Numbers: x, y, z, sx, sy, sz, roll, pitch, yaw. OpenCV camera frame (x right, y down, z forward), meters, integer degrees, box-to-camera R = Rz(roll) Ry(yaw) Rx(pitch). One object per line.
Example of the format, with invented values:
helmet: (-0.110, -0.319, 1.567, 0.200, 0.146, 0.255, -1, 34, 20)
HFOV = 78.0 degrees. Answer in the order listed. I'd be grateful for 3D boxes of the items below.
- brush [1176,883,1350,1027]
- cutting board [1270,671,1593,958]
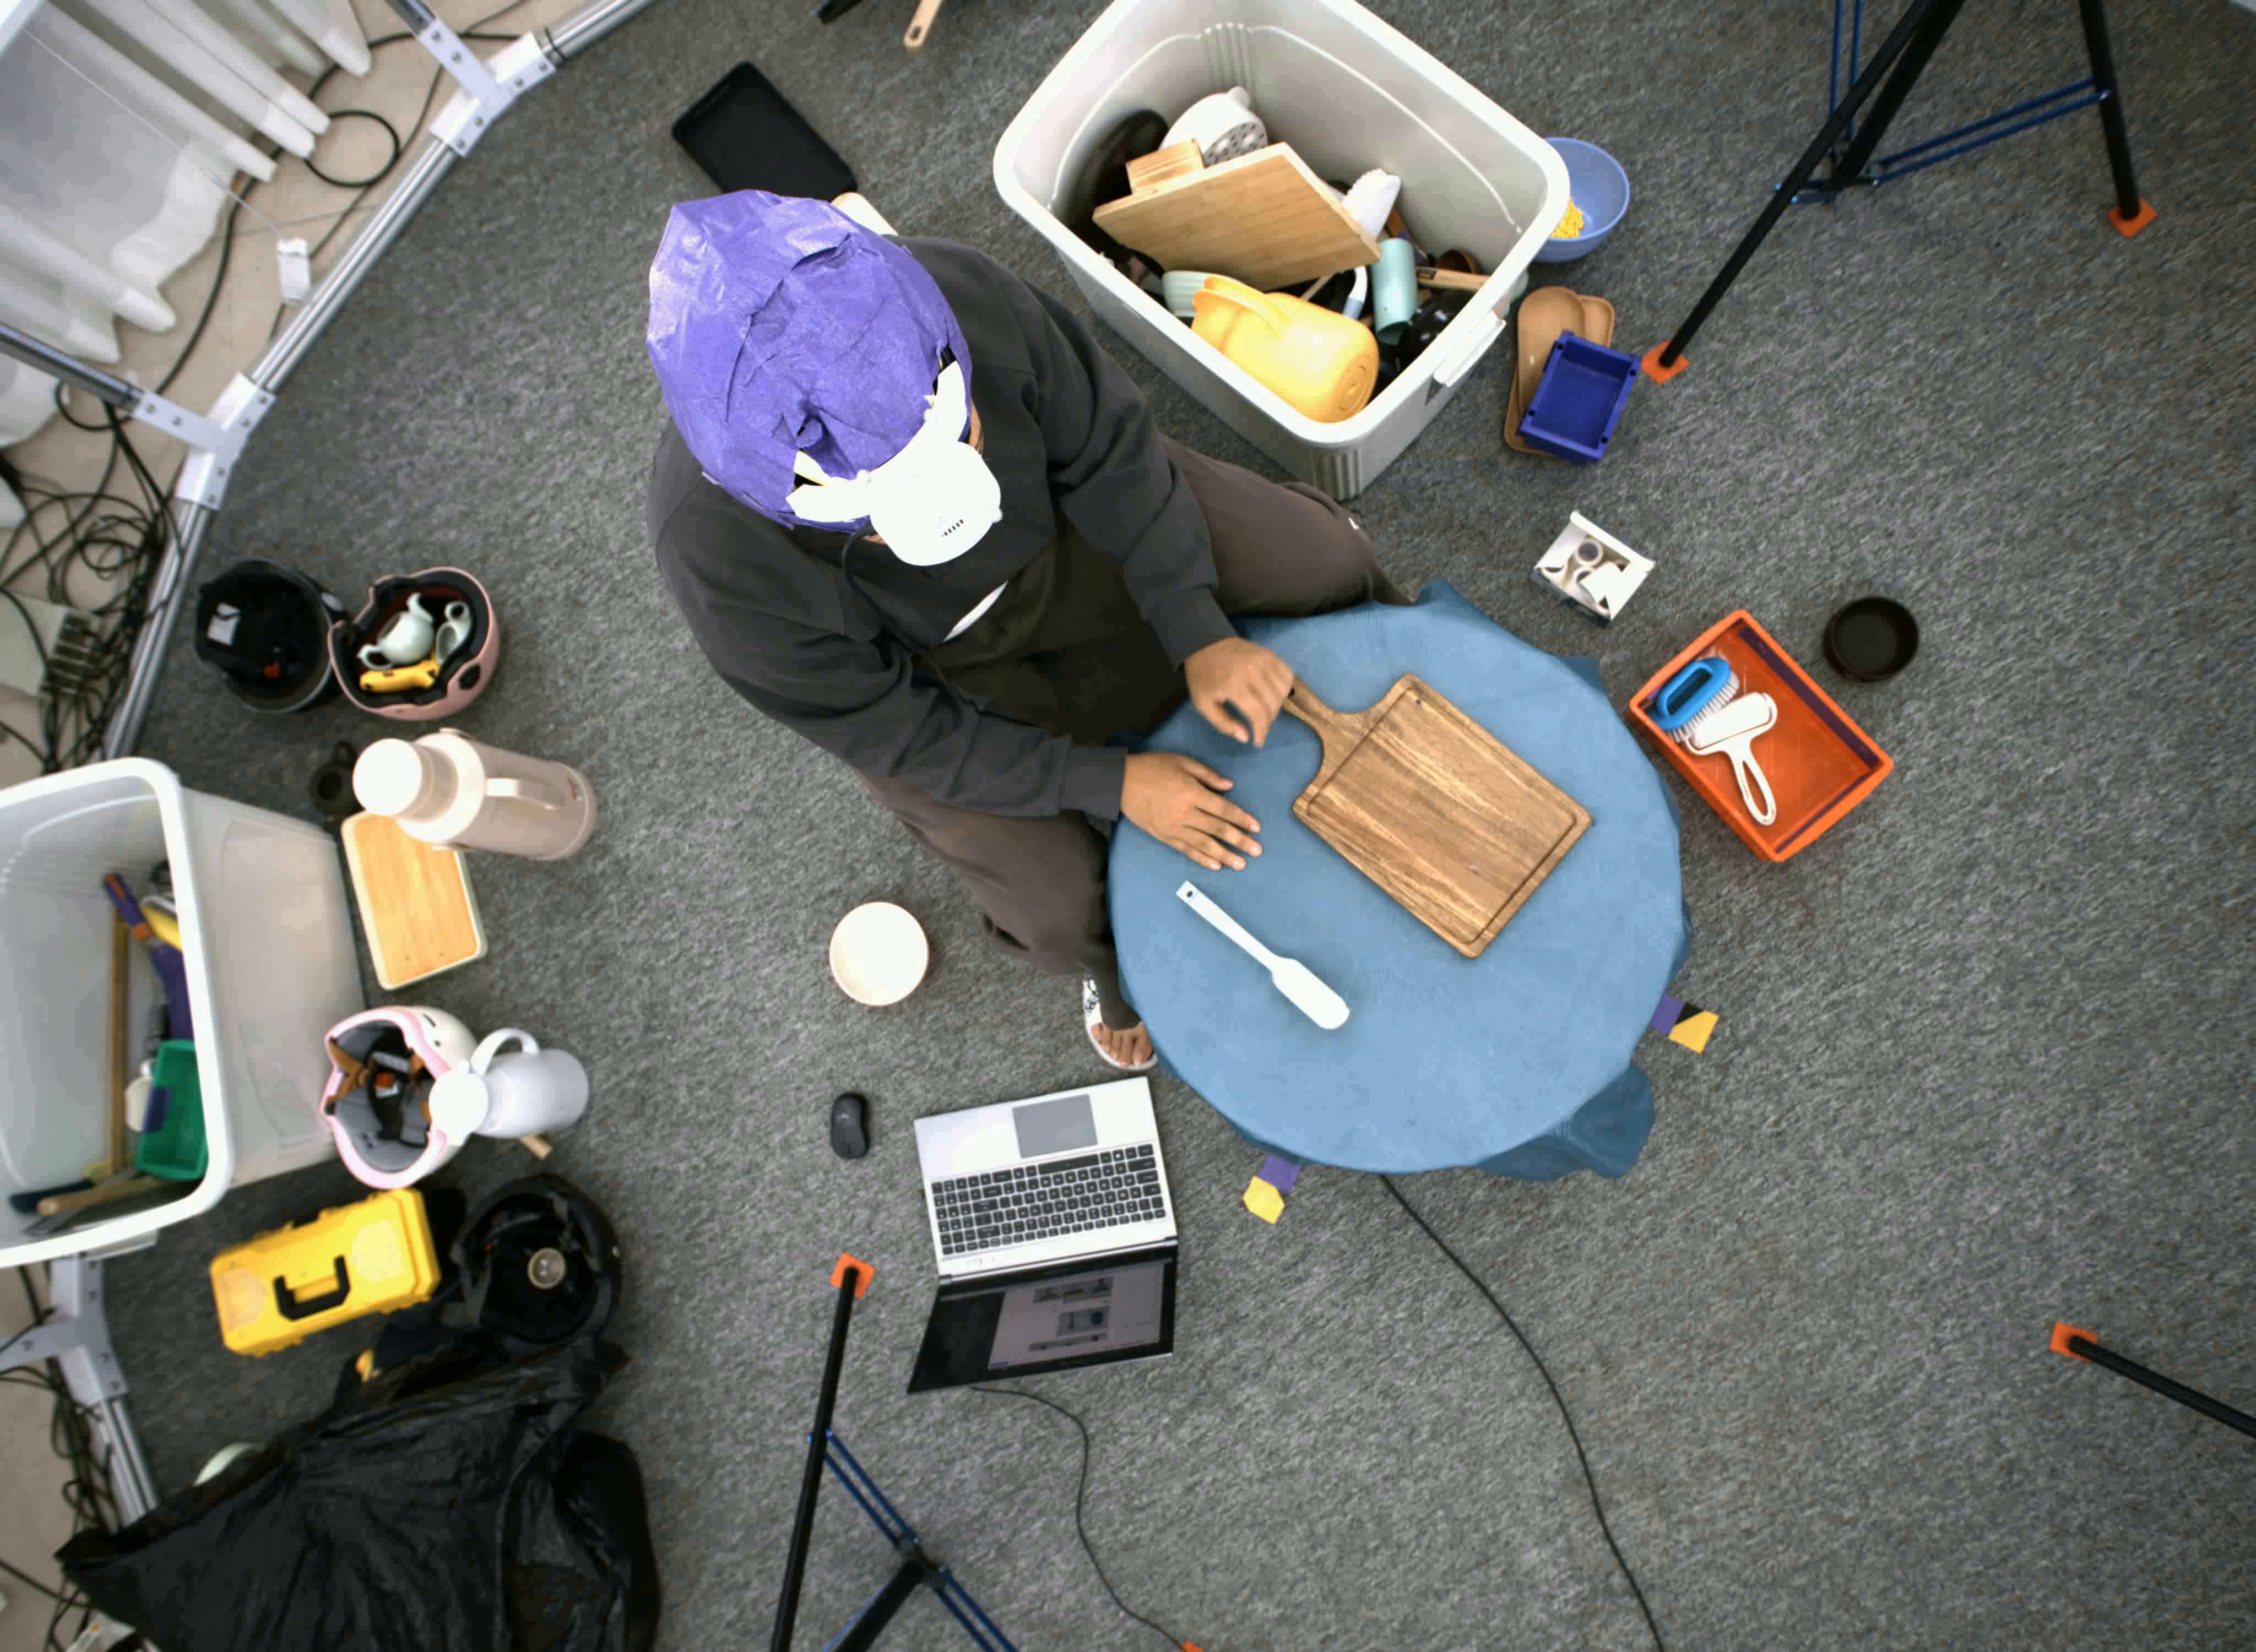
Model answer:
brush: (0.140, 0.135, 1.467, 0.227, 0.050, 0.038, 38, 90, 20)
cutting board: (0.291, -0.048, 1.453, 0.350, 0.023, 0.202, 41, 94, 11)
